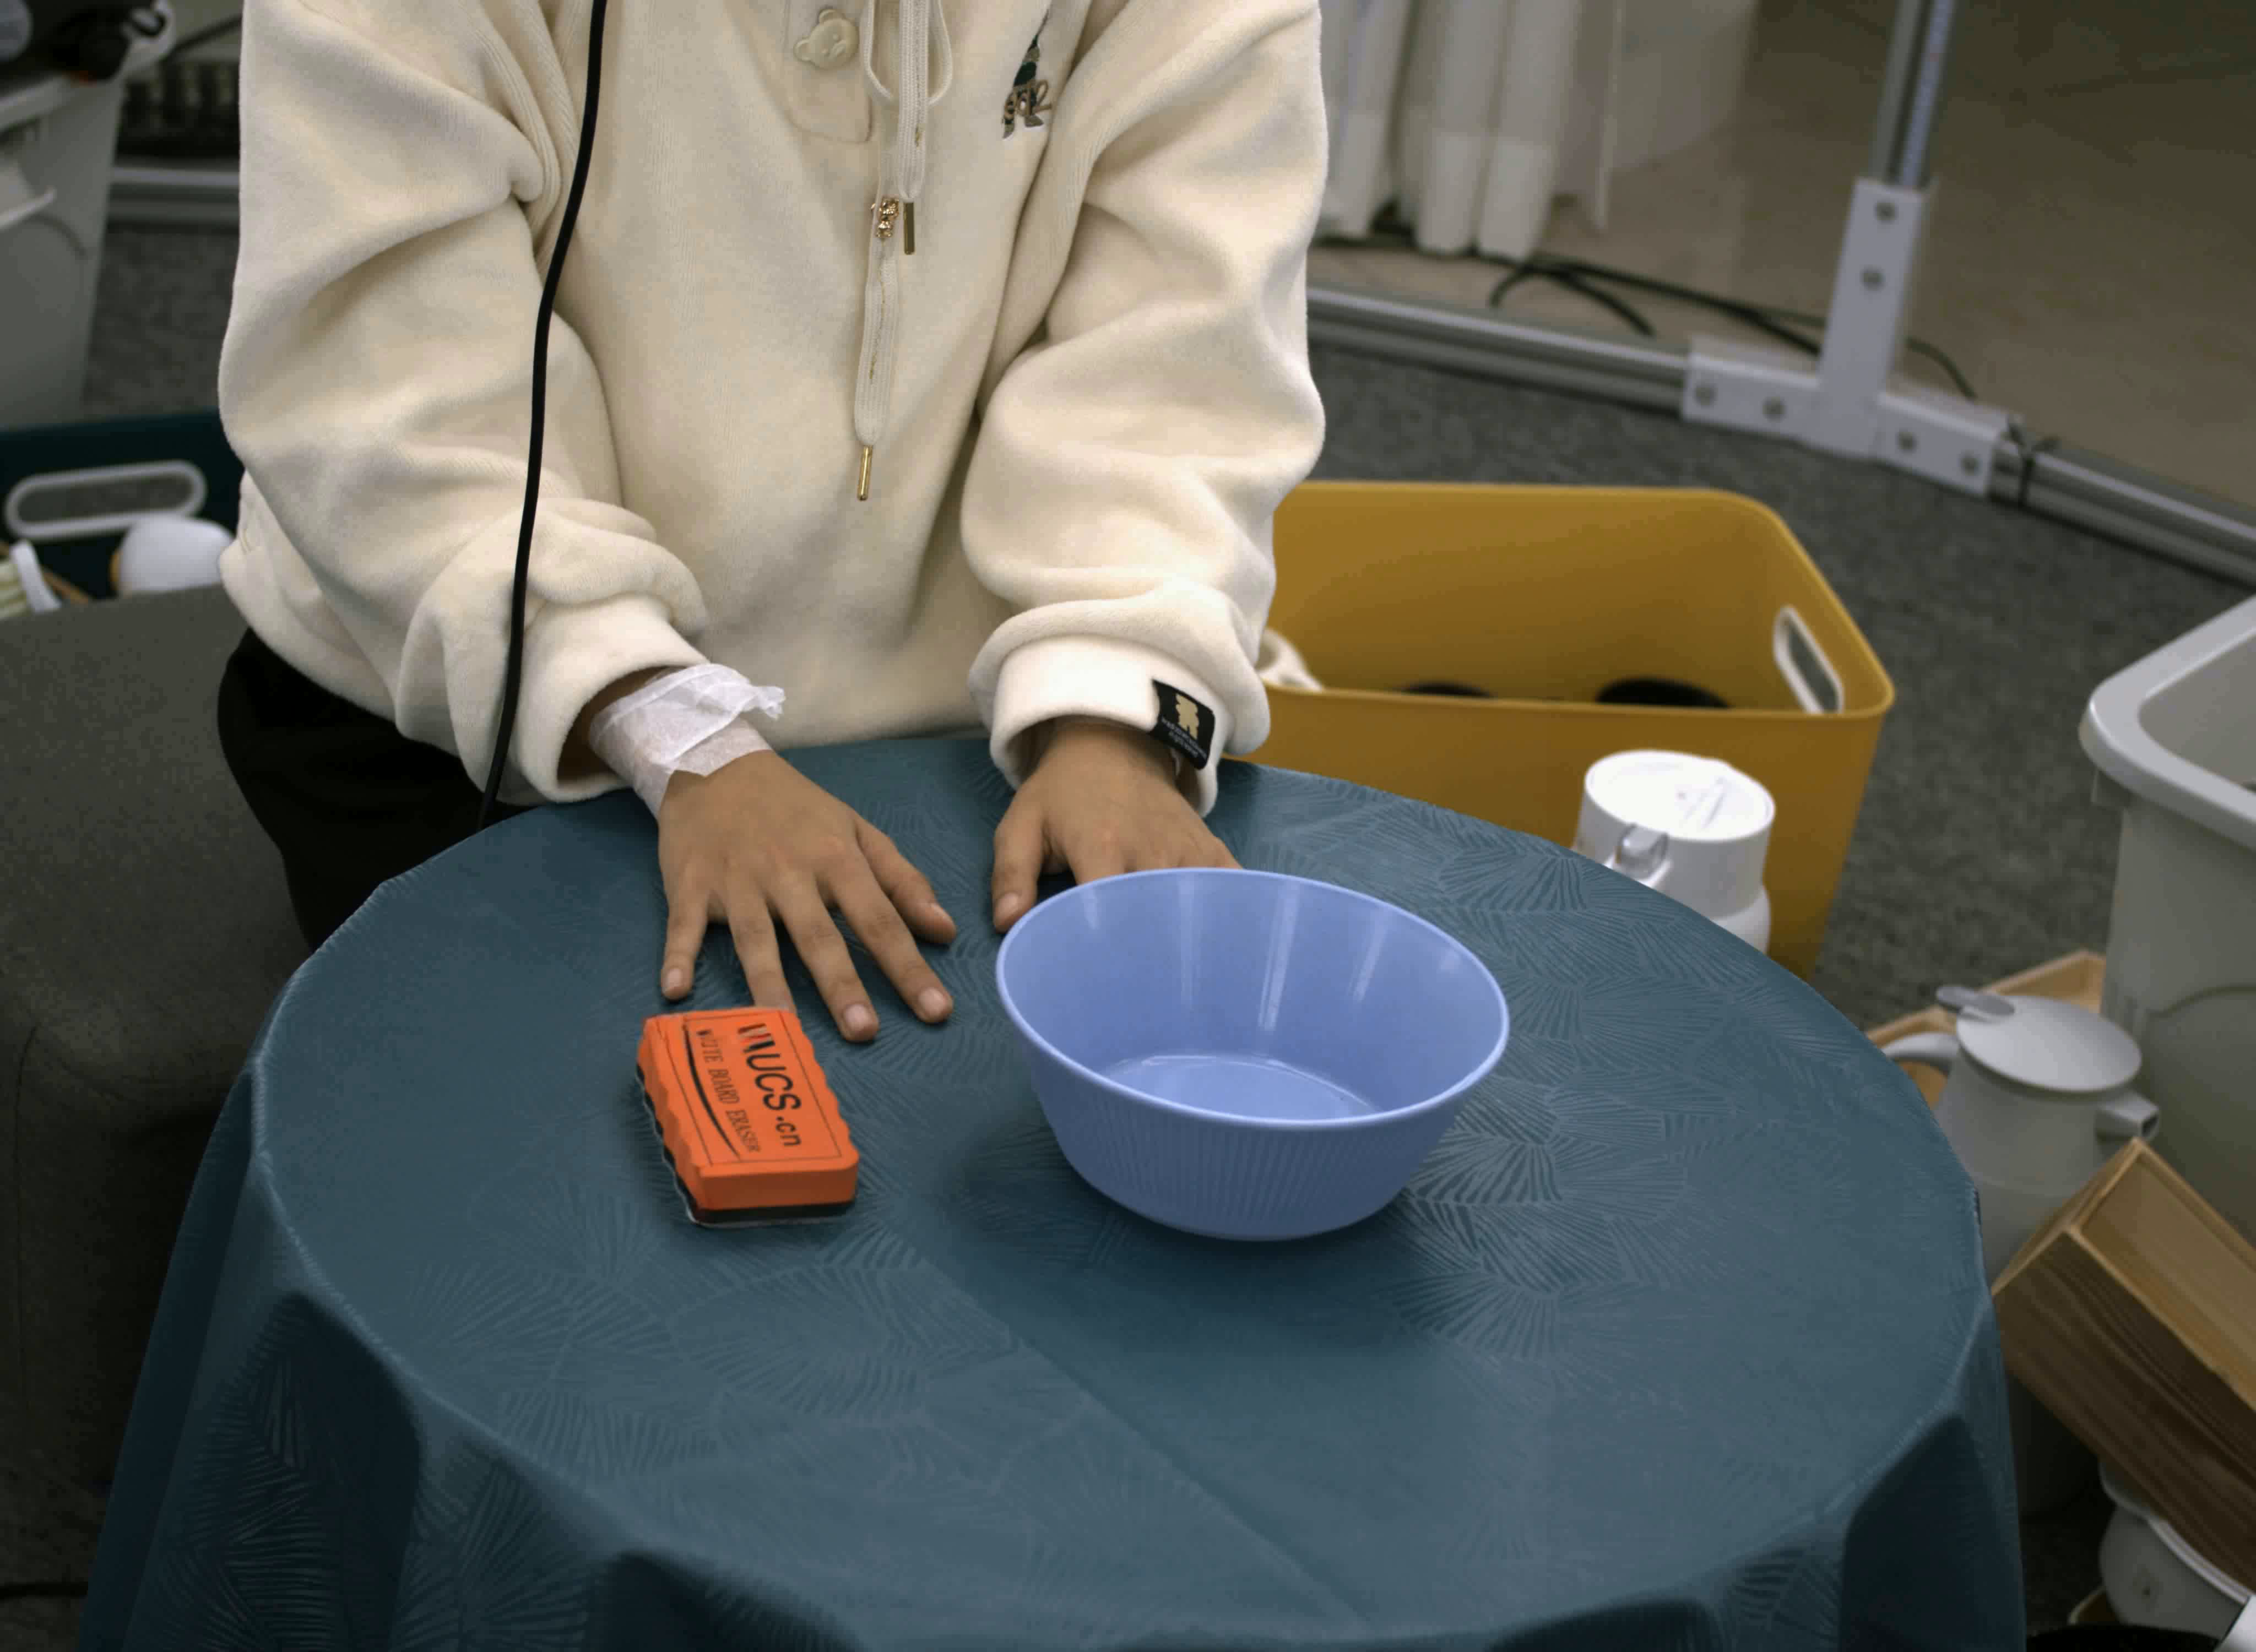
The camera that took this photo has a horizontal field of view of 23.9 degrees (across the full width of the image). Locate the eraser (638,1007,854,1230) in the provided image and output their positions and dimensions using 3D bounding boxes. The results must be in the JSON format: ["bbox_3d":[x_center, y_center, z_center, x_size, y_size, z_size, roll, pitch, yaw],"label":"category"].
[{"bbox_3d":[-0.129,0.098,1.798,0.058,0.023,0.109,-3,29,-14],"label":"eraser"}]

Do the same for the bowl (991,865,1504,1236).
[{"bbox_3d":[0.037,0.082,1.813,0.175,0.070,0.177,5,27,-3],"label":"bowl"}]
